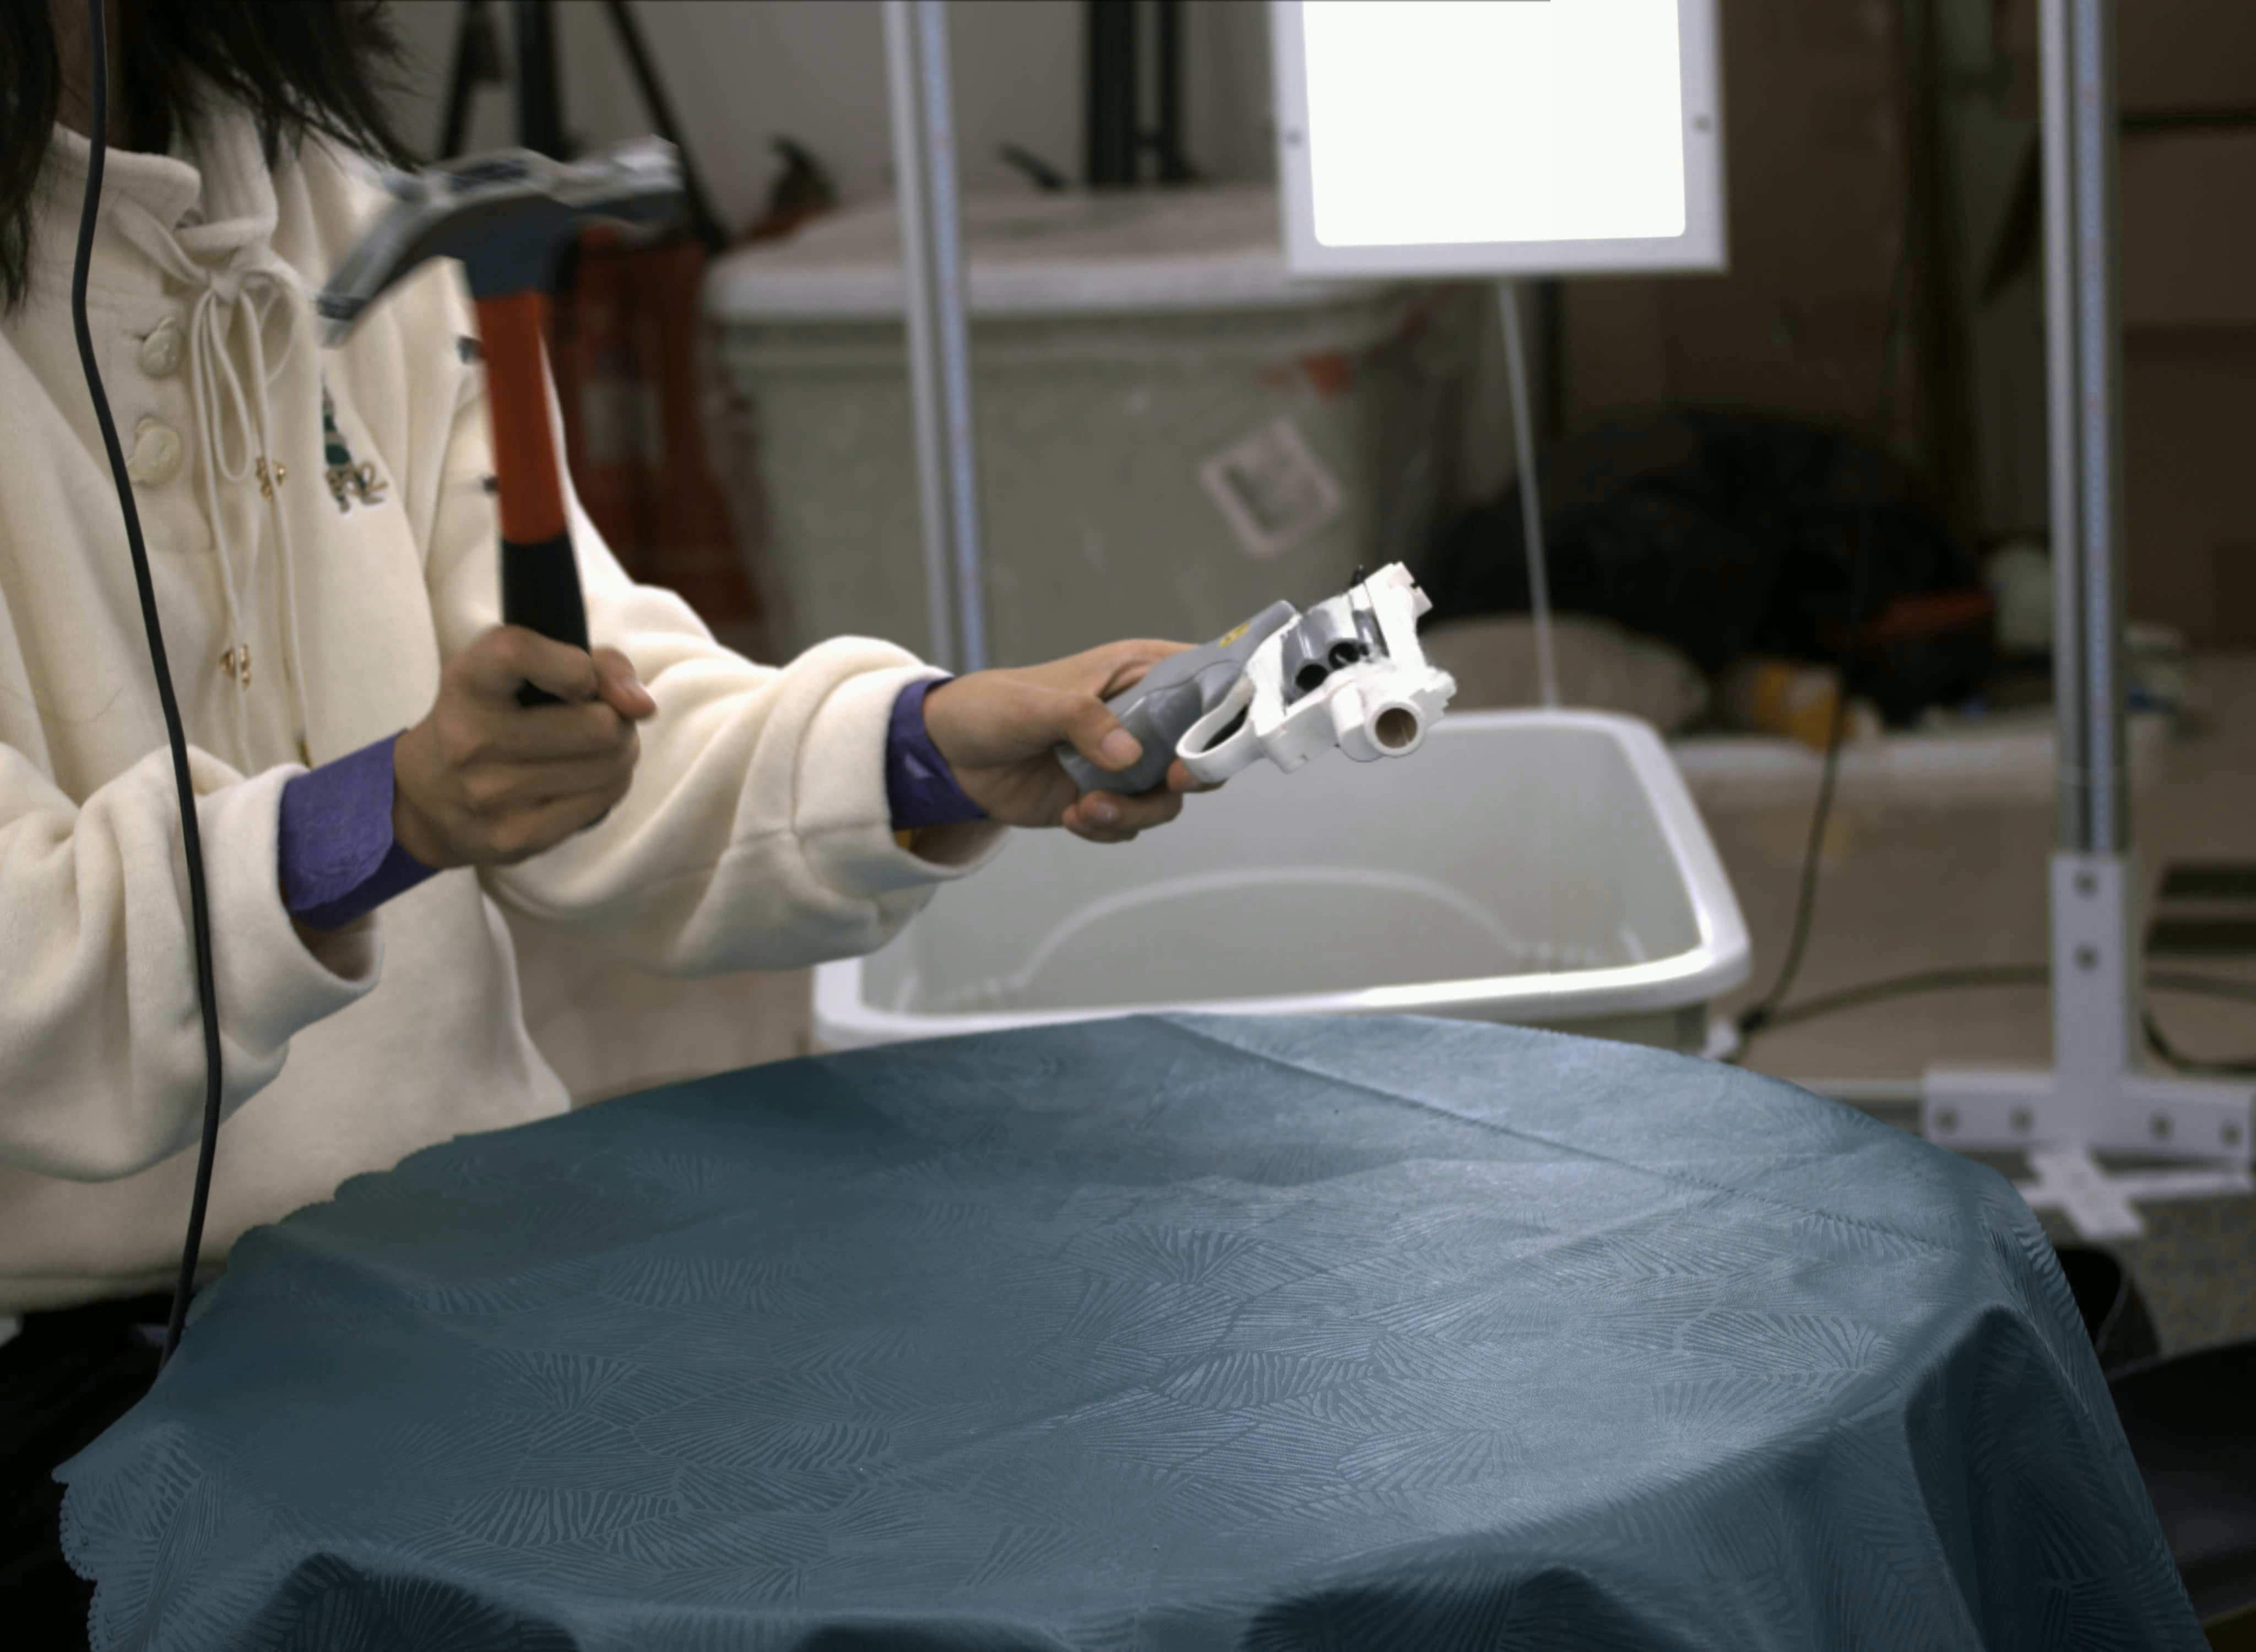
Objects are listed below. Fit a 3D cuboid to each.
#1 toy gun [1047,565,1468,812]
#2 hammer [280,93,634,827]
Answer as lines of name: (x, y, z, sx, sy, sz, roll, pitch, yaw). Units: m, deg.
toy gun: (0.043, -0.037, 1.857, 0.142, 0.038, 0.209, -33, 15, 6)
hammer: (-0.194, -0.102, 1.719, 0.109, 0.278, 0.026, -21, 48, -15)
